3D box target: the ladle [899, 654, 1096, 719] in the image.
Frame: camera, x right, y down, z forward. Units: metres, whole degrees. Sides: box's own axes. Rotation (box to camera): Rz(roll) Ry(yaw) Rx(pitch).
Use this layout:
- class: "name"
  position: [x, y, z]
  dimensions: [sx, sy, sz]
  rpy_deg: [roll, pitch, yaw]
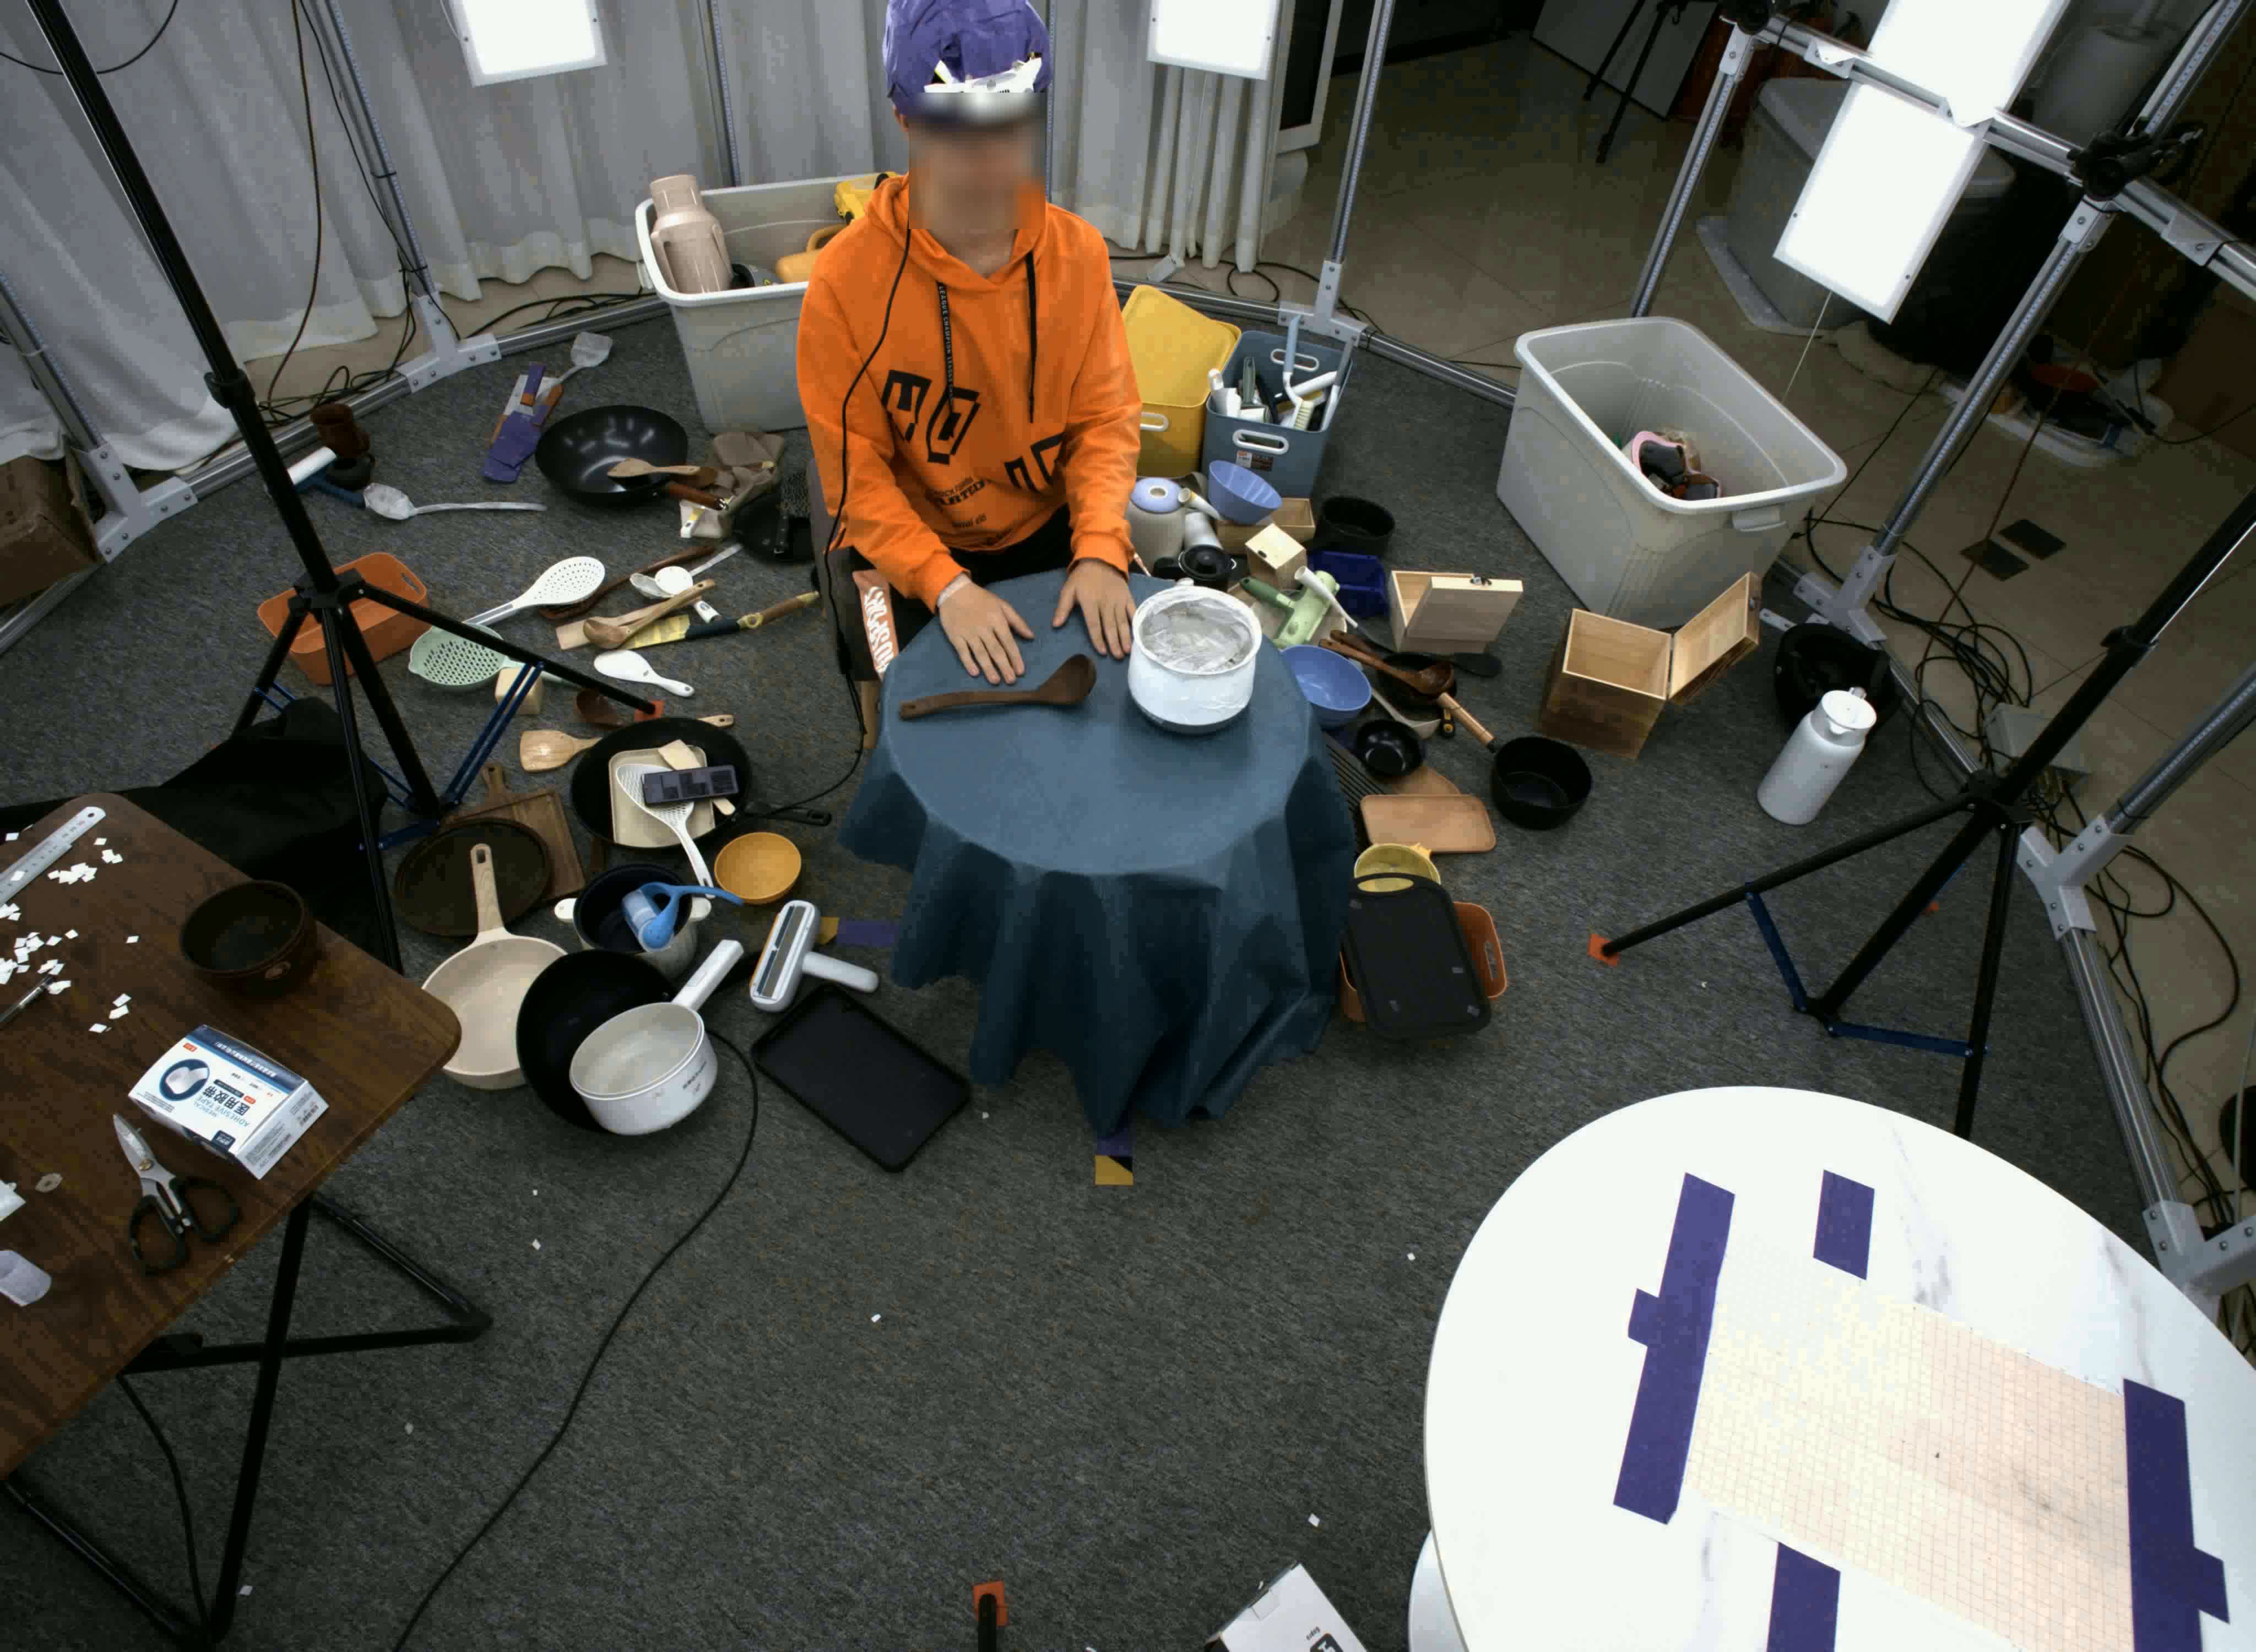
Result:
- class: "ladle"
  position: [-0.180, -0.192, 1.778]
  dimensions: [0.274, 0.069, 0.078]
  rpy_deg: [-7, 47, -10]

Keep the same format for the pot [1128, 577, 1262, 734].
- class: "pot"
  position: [0.086, -0.248, 1.801]
  dimensions: [0.178, 0.133, 0.239]
  rpy_deg: [-3, 50, -8]
